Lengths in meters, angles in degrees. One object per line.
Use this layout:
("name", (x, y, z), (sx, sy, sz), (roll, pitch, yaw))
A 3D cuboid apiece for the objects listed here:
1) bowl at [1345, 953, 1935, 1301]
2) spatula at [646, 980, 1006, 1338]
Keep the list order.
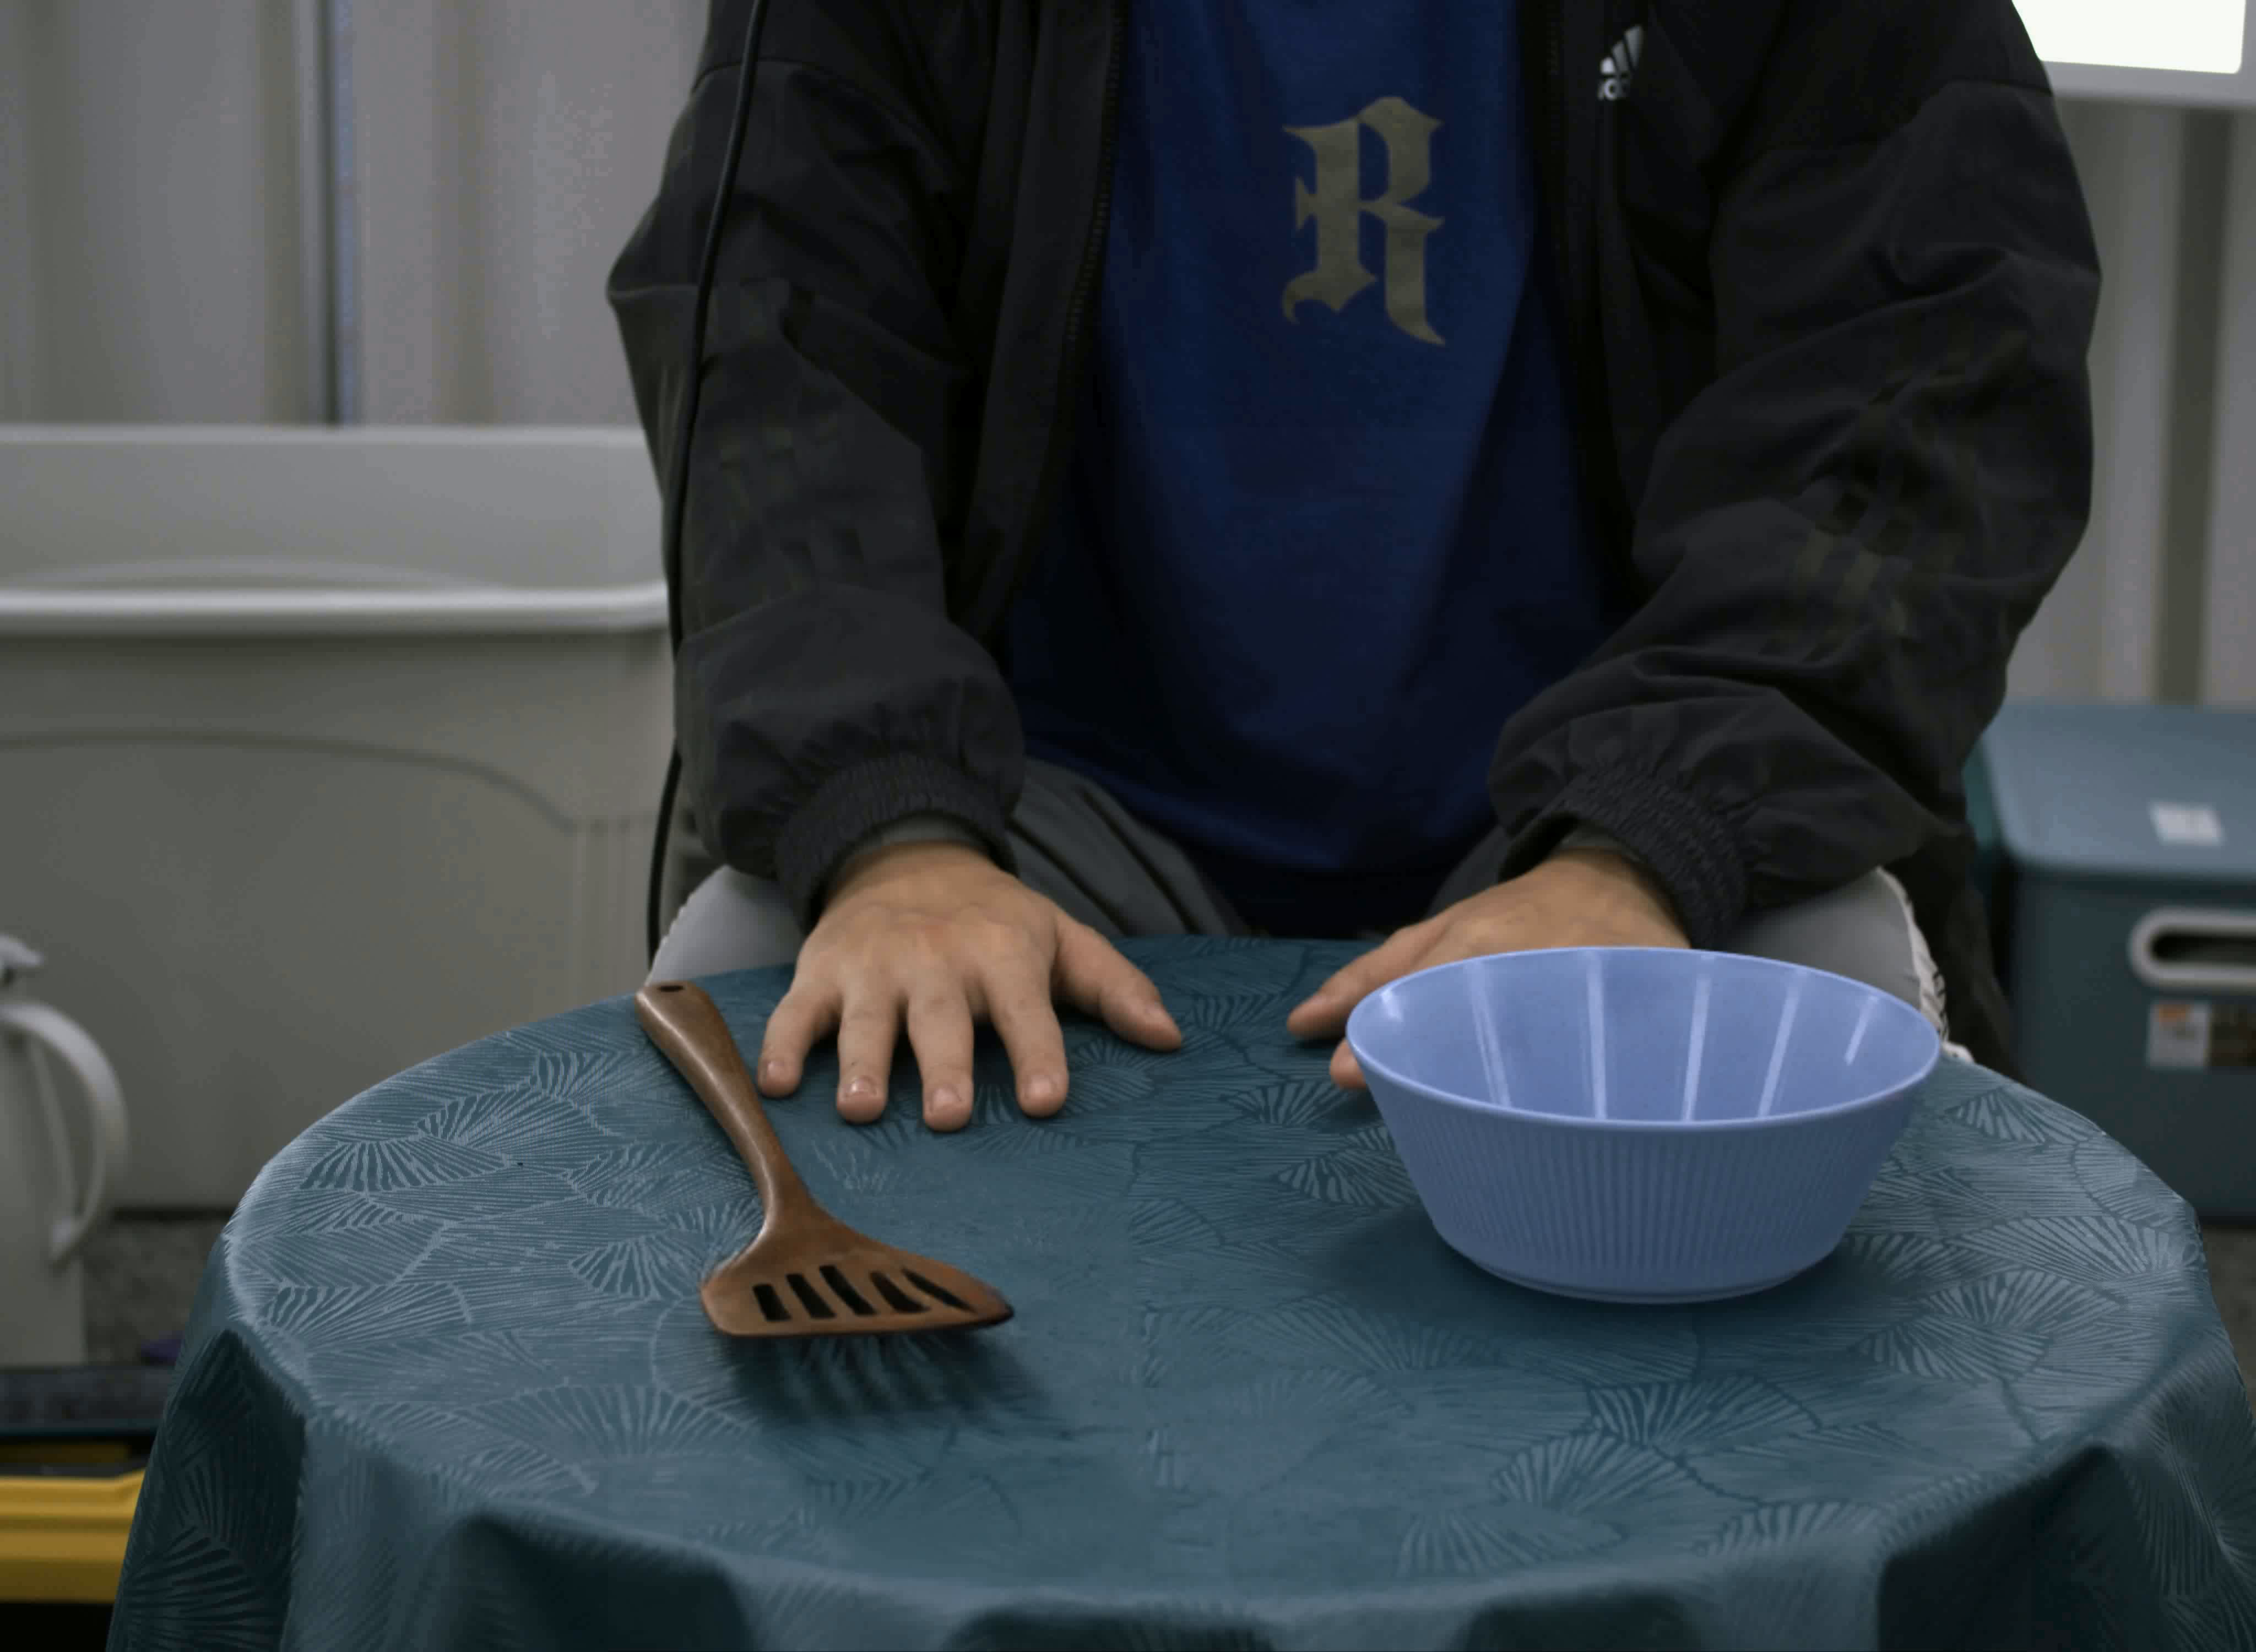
("bowl", (0.151, 0.092, 1.570), (0.175, 0.071, 0.175), (1, 14, 0))
("spatula", (-0.112, 0.102, 1.616), (0.085, 0.024, 0.383), (-2, 14, -13))
